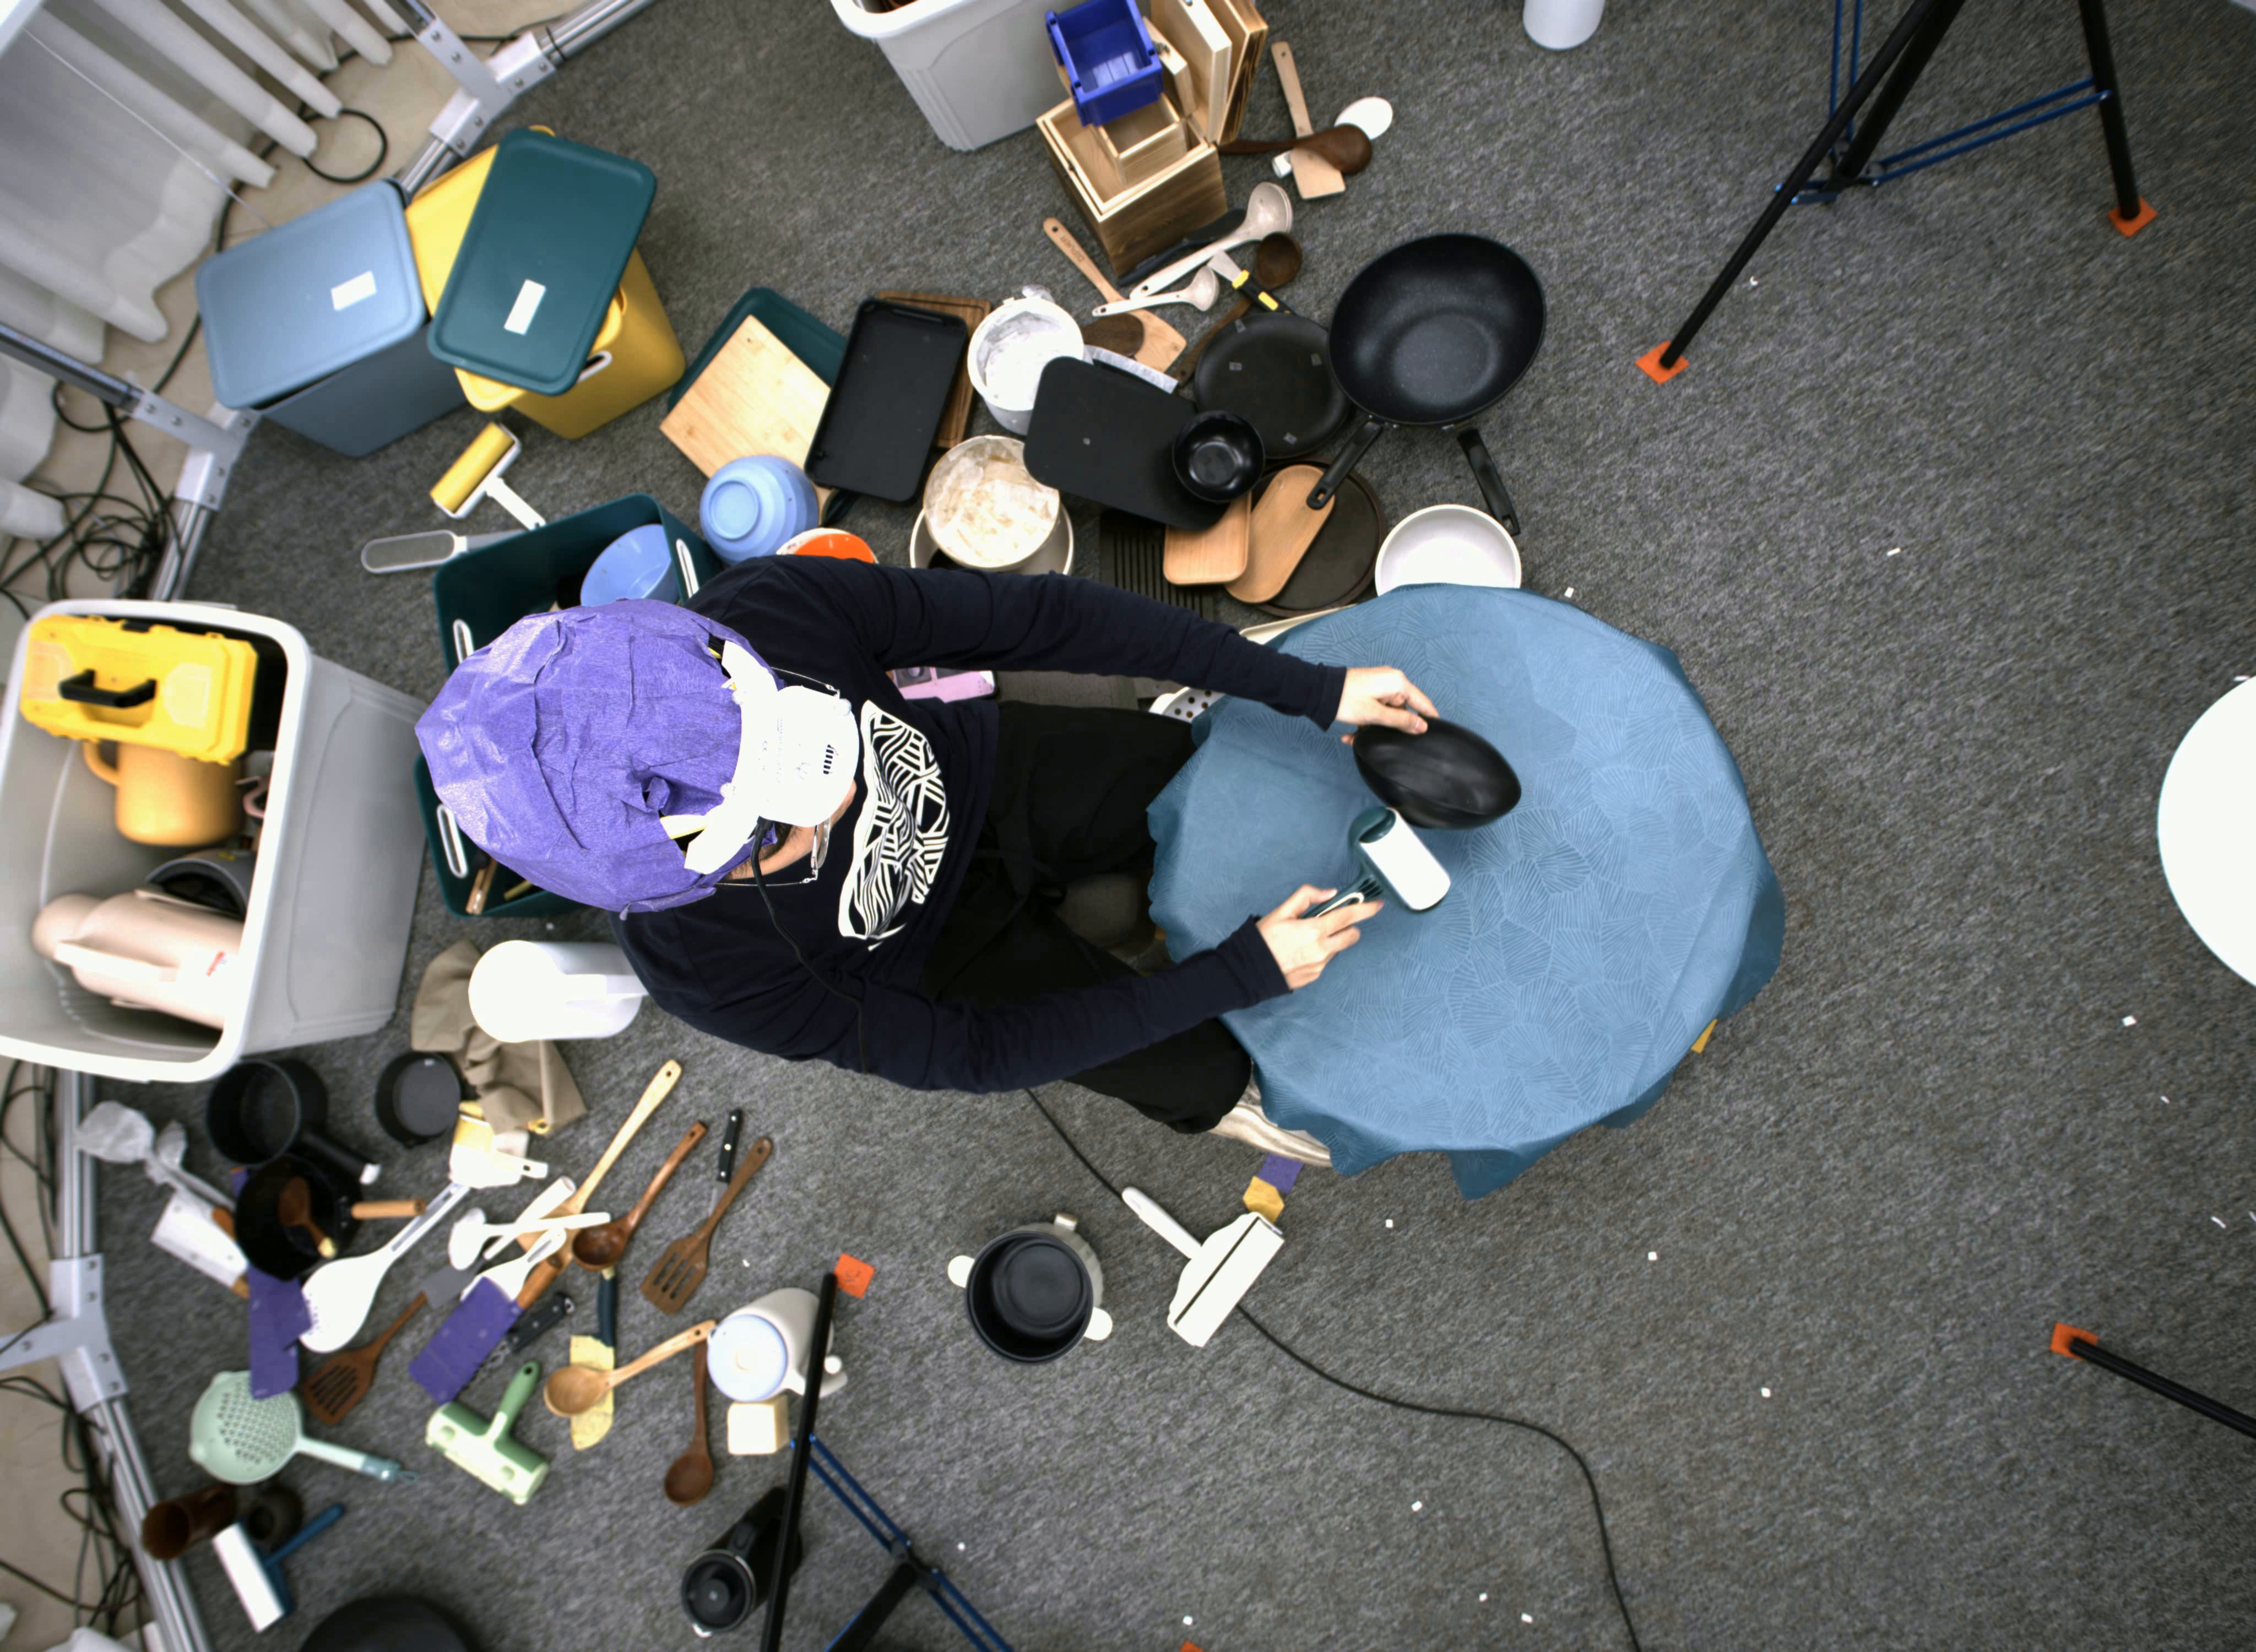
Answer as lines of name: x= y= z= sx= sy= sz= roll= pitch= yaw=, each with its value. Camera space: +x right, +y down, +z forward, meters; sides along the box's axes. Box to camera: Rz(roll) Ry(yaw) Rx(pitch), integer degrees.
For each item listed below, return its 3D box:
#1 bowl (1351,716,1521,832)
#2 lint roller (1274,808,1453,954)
bowl: x=0.292 y=-0.041 z=1.338 sx=0.170 sy=0.133 sz=0.068 roll=18 pitch=131 yaw=-1
lint roller: x=0.218 y=0.072 z=1.334 sx=0.181 sy=0.047 sz=0.136 roll=-42 pitch=123 yaw=10
